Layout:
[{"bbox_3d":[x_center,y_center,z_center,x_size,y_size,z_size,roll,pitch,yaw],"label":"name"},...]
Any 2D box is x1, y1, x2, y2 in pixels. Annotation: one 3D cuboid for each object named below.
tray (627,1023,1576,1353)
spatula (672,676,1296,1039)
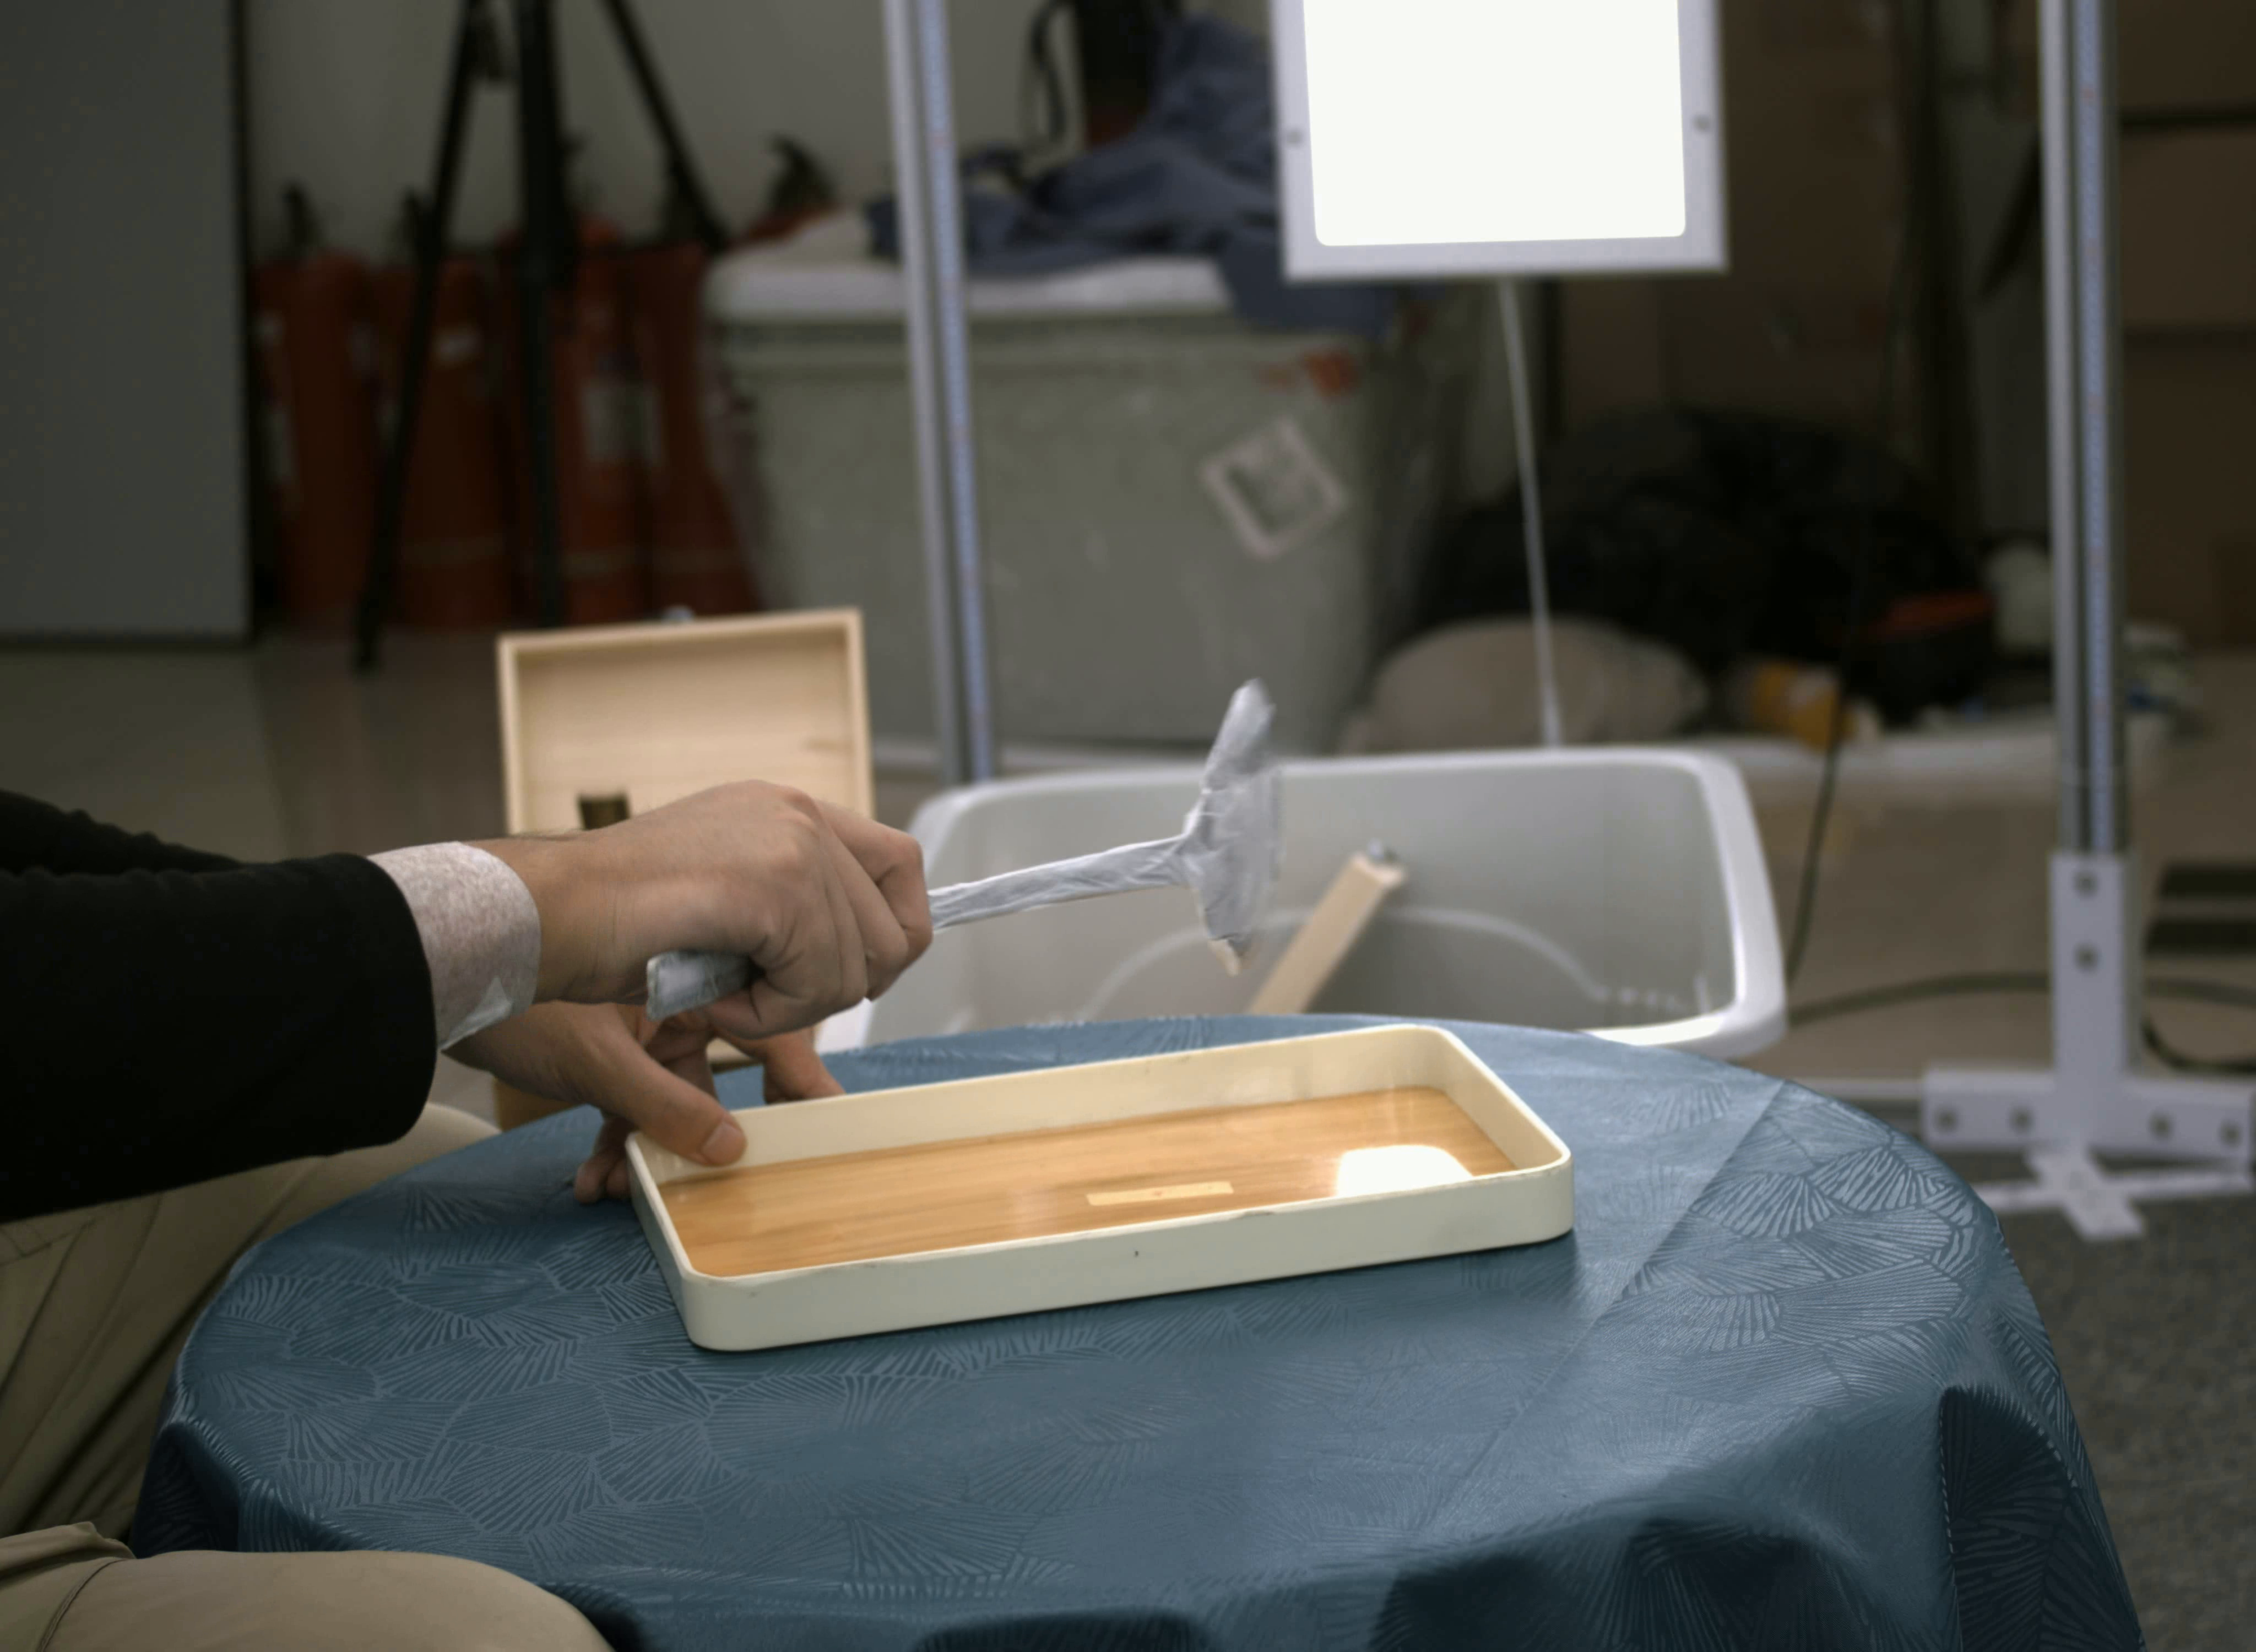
[{"bbox_3d":[-0.013,0.121,1.871,0.297,0.027,0.192,-7,14,-8],"label":"tray"},{"bbox_3d":[-0.038,0.022,1.739,0.045,0.099,0.355,10,14,38],"label":"spatula"}]
